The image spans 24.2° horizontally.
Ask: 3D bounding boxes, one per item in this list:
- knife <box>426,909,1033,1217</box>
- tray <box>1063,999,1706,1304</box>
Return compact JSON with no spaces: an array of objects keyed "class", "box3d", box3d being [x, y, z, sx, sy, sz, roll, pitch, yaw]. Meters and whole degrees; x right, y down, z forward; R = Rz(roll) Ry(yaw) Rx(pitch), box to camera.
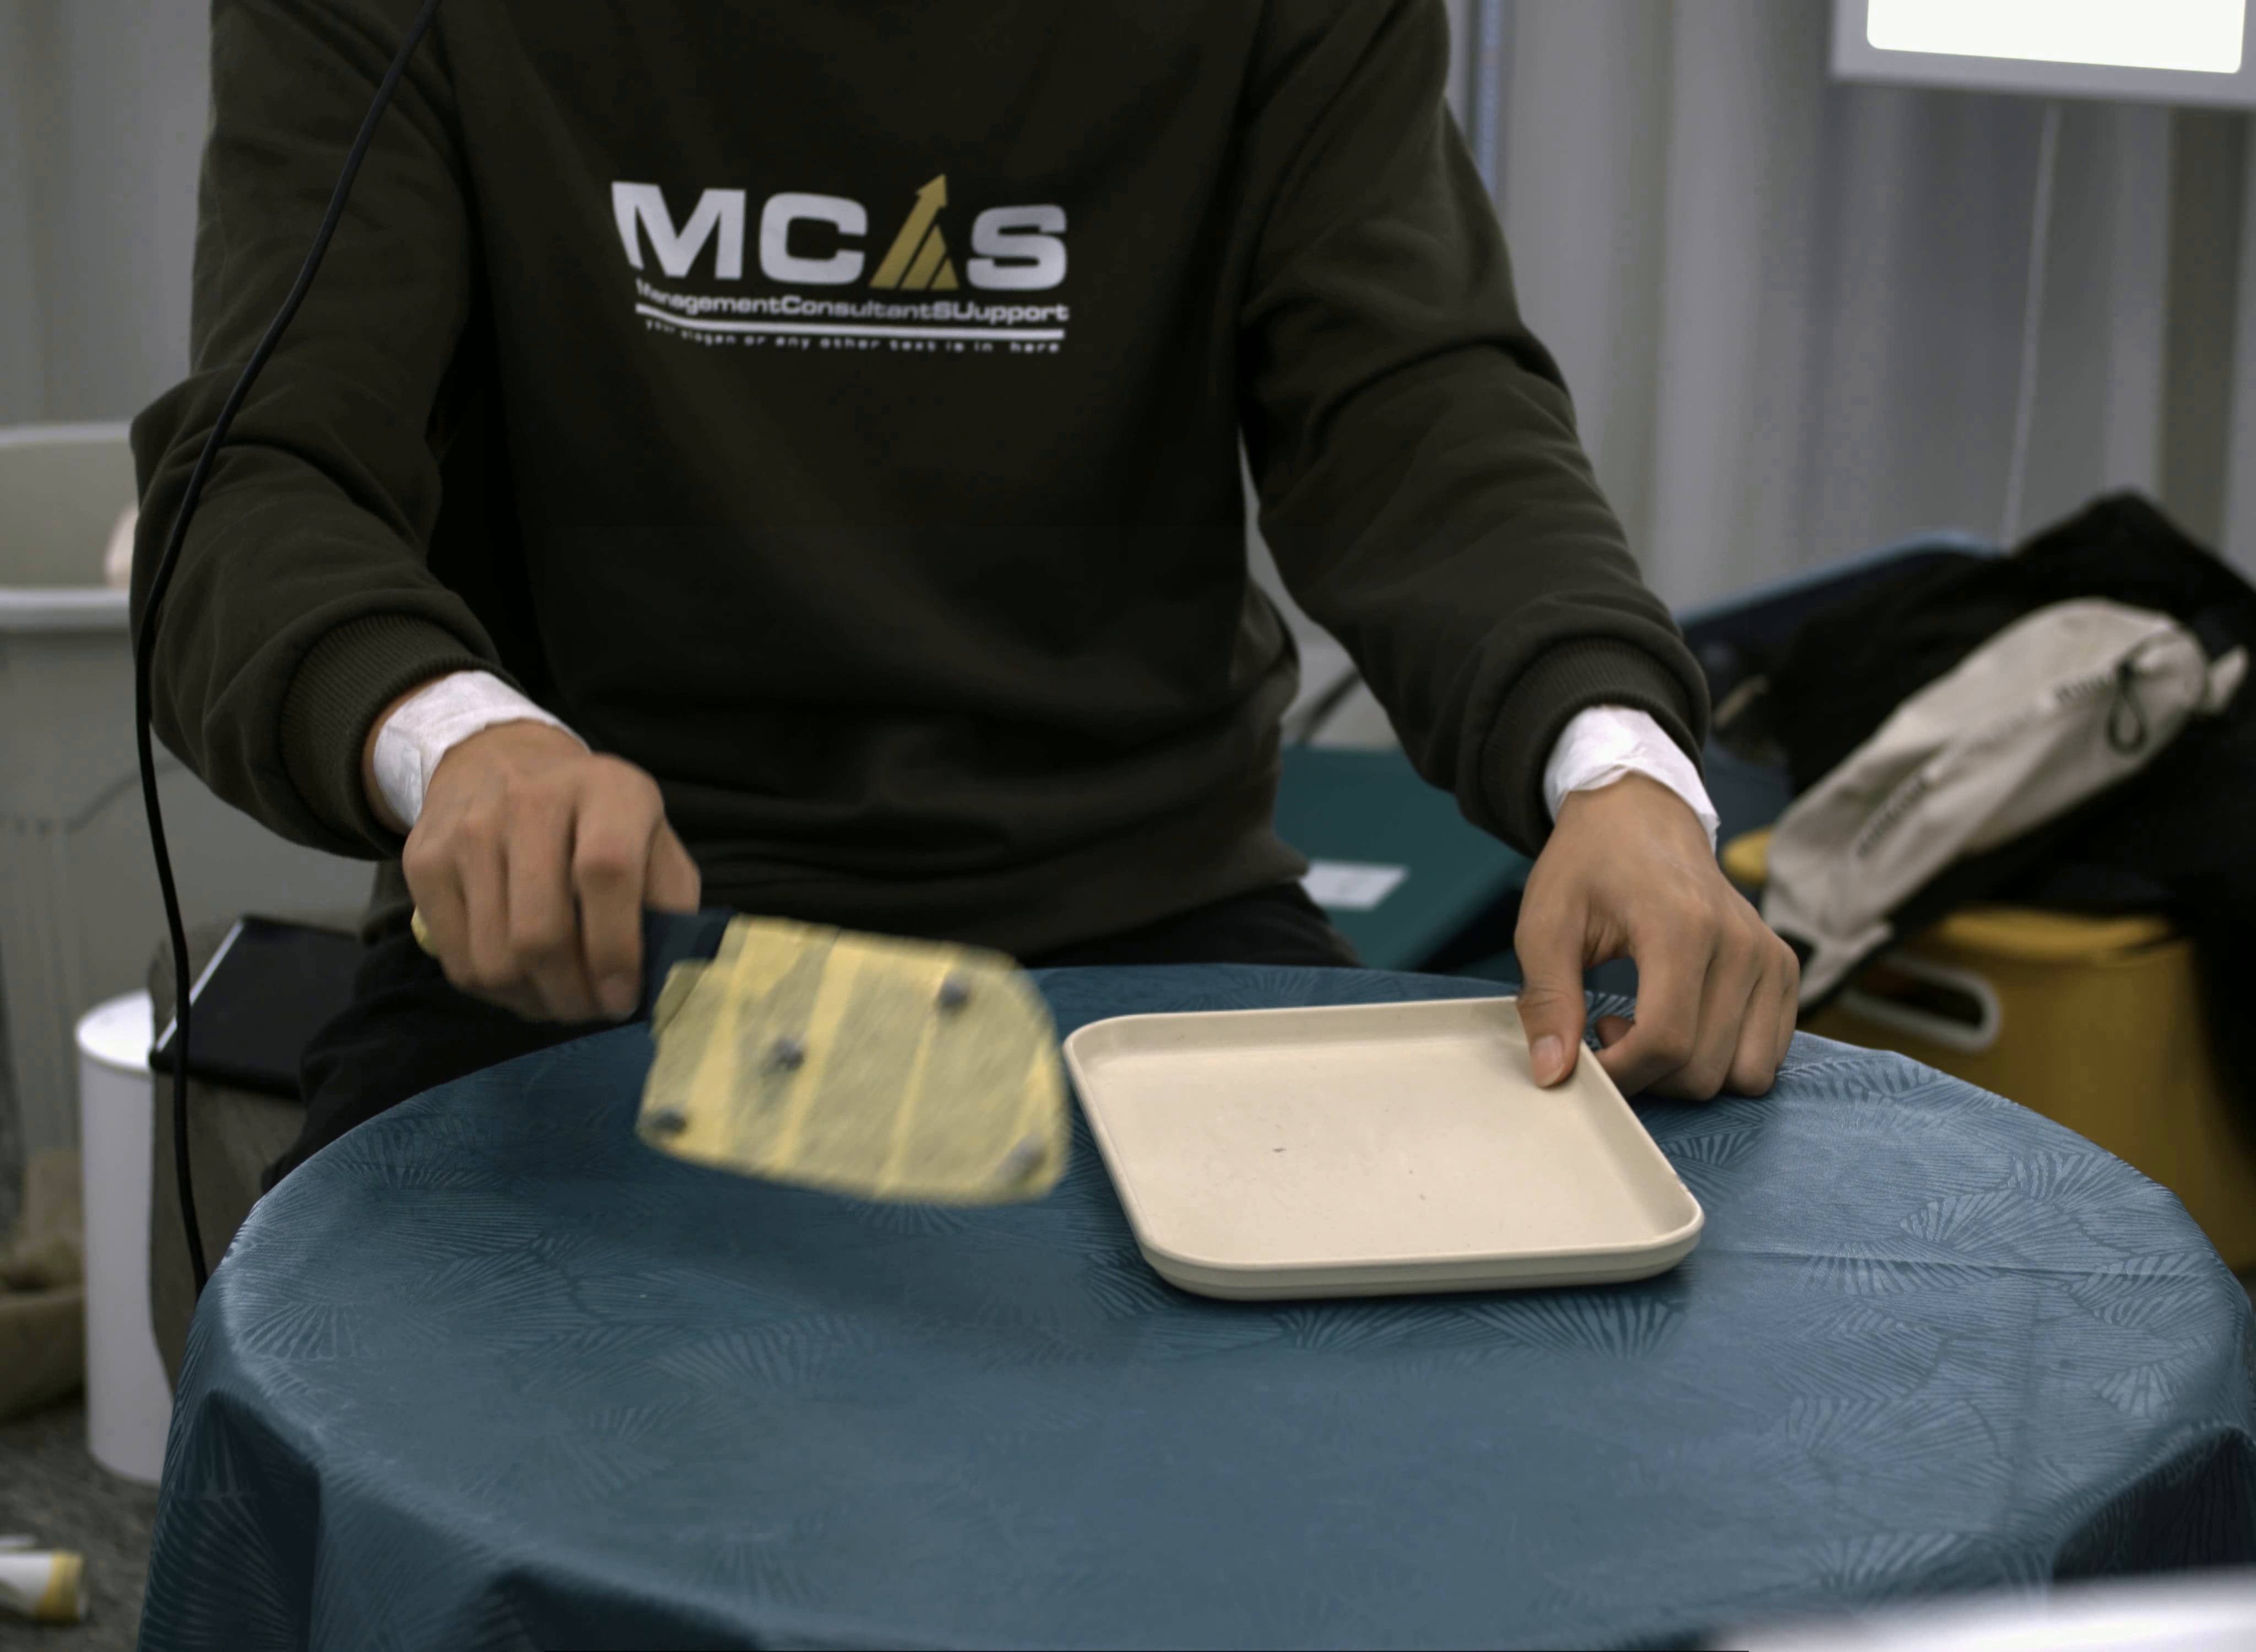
[{"class":"knife","box3d":[-0.123,0.068,1.556,0.286,0.081,0.027,13,-13,46]},{"class":"tray","box3d":[0.075,0.100,1.638,0.171,0.017,0.238,-3,16,-8]}]
